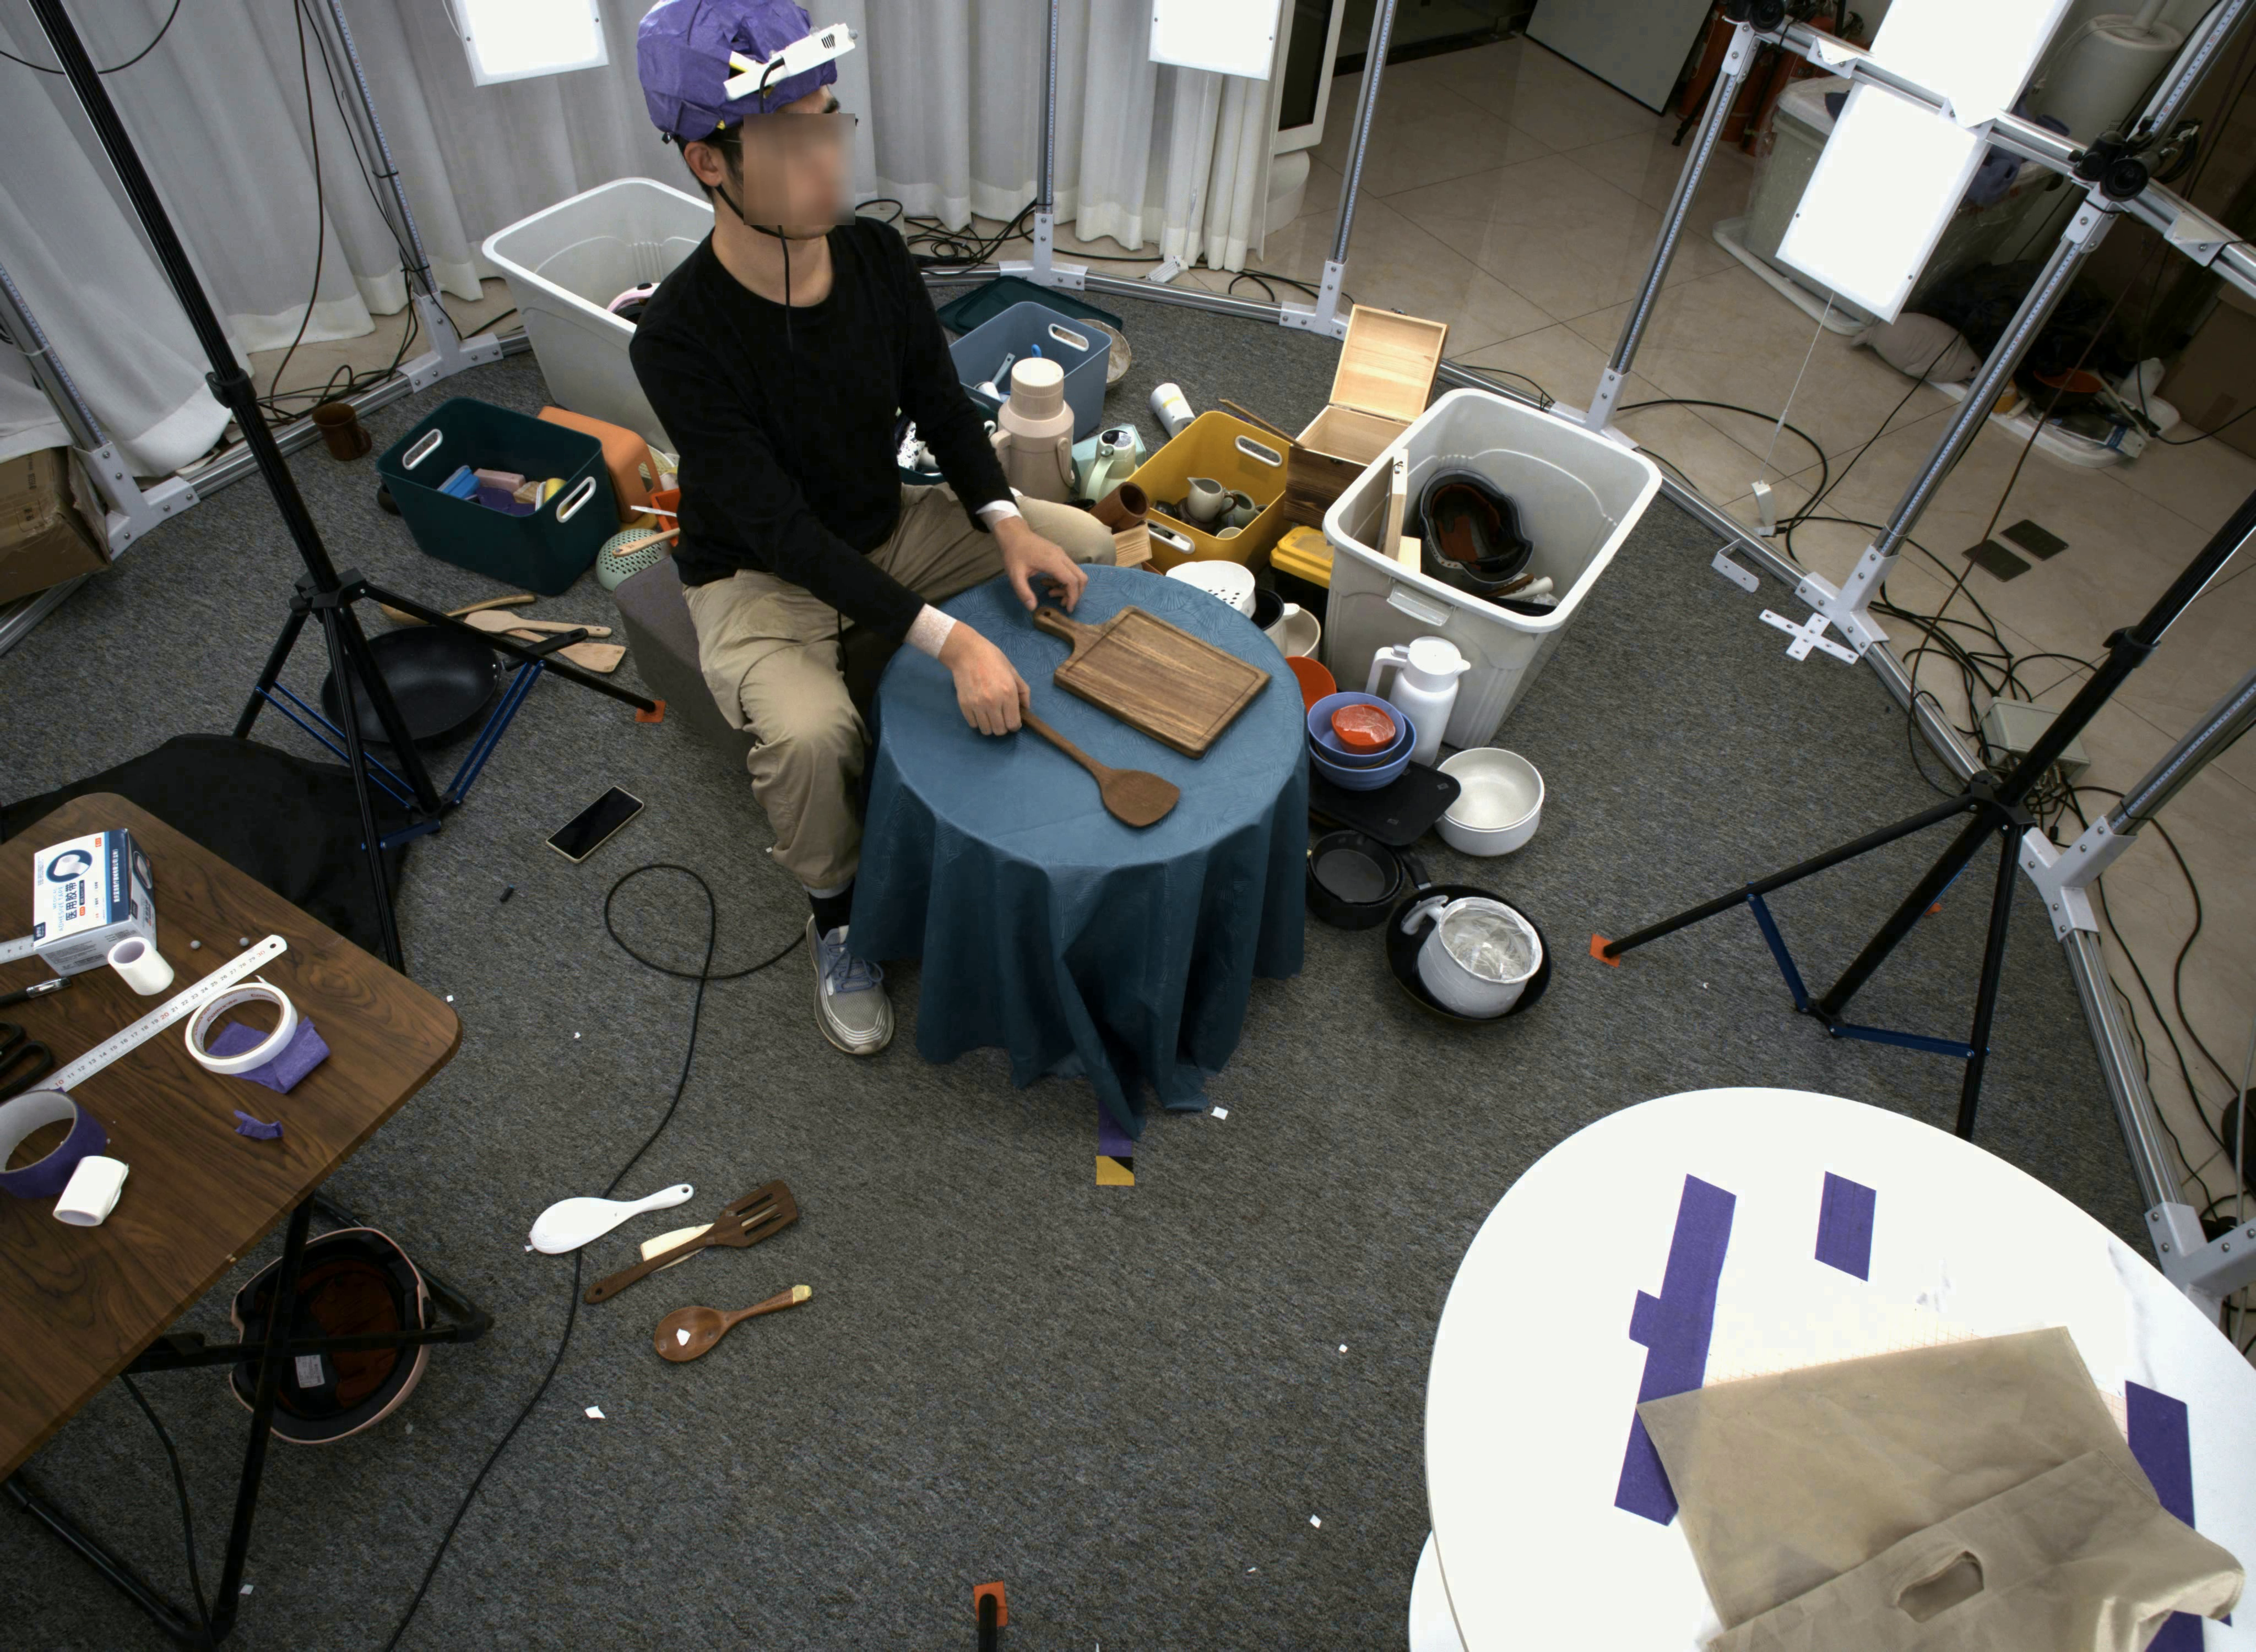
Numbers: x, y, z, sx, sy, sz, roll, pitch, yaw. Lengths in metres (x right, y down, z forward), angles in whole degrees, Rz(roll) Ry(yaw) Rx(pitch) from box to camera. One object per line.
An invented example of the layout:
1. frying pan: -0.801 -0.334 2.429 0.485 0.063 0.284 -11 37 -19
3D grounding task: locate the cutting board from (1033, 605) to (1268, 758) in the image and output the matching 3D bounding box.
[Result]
1. cutting board: 0.008 -0.236 1.862 0.356 0.022 0.204 29 53 20

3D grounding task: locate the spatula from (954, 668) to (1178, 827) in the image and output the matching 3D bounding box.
1. spatula: -0.098 -0.119 1.753 0.391 0.015 0.097 36 55 23
